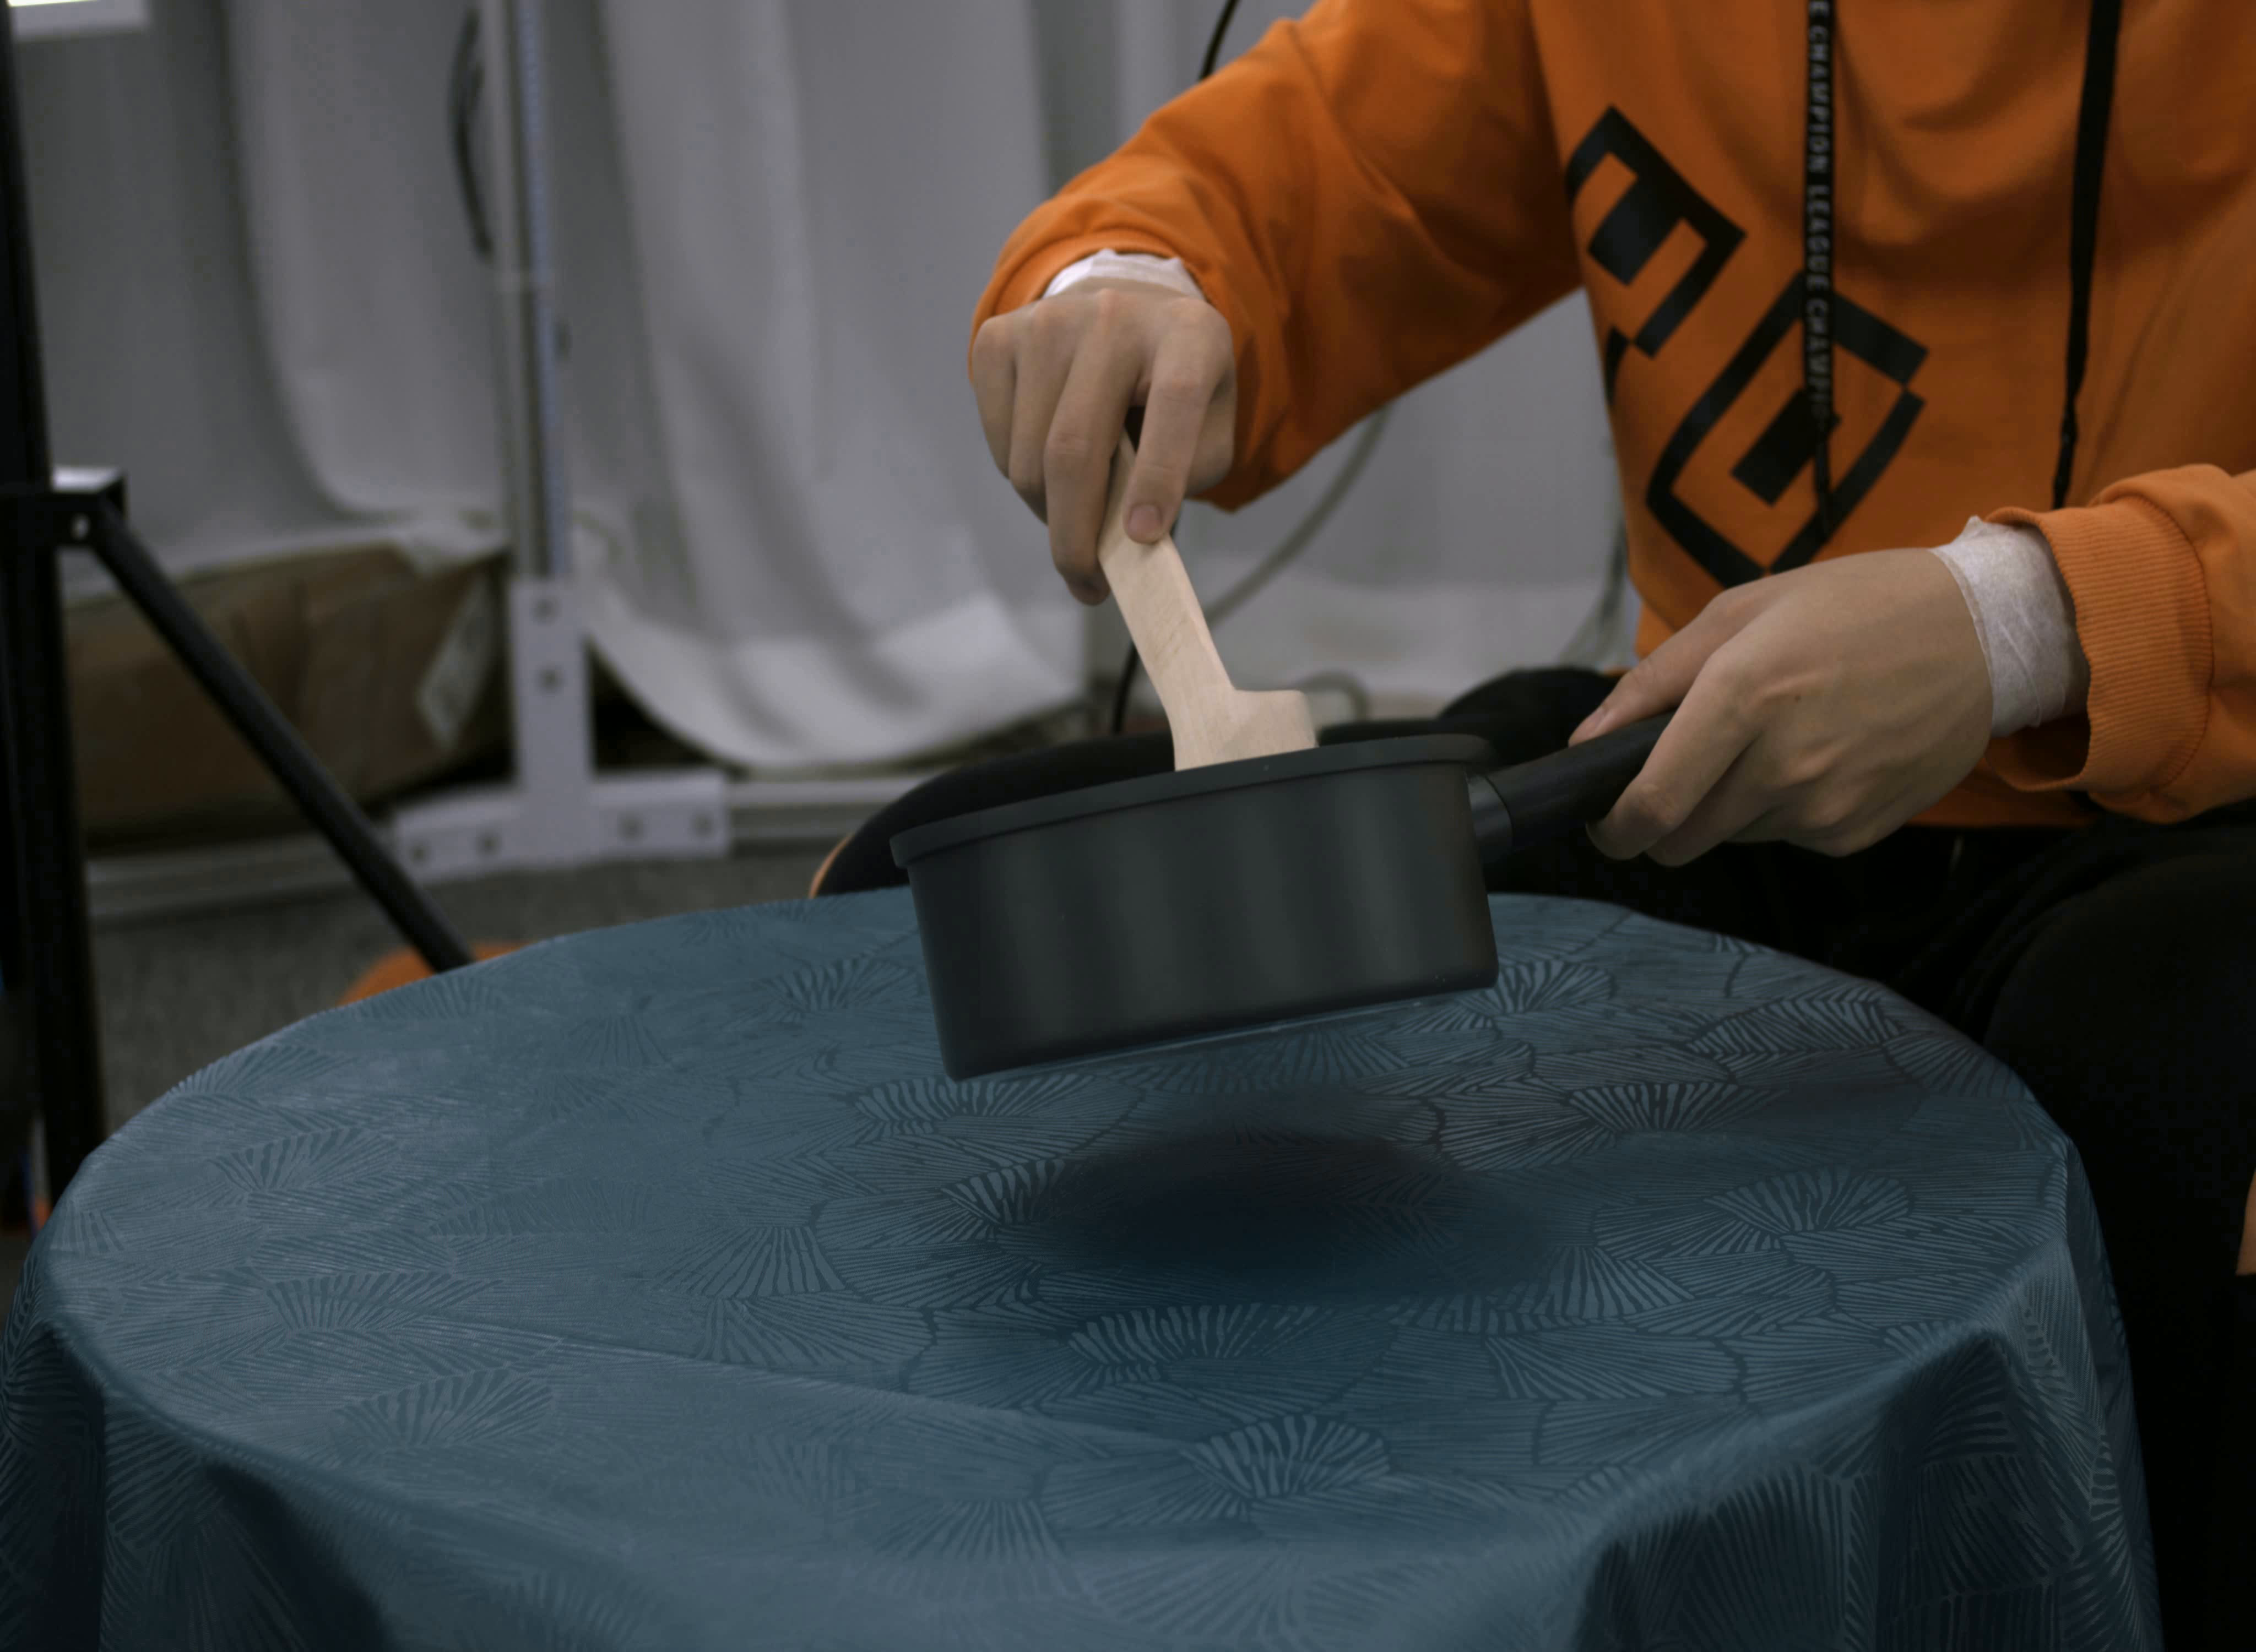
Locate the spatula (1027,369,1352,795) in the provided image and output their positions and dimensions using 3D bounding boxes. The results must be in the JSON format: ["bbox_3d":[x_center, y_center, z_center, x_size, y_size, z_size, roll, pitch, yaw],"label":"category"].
[{"bbox_3d":[0.013,-0.064,1.648,0.010,0.072,0.298,17,26,-28],"label":"spatula"}]

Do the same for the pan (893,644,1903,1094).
[{"bbox_3d":[0.092,0.013,1.565,0.322,0.087,0.174,-10,-3,-24],"label":"pan"}]
